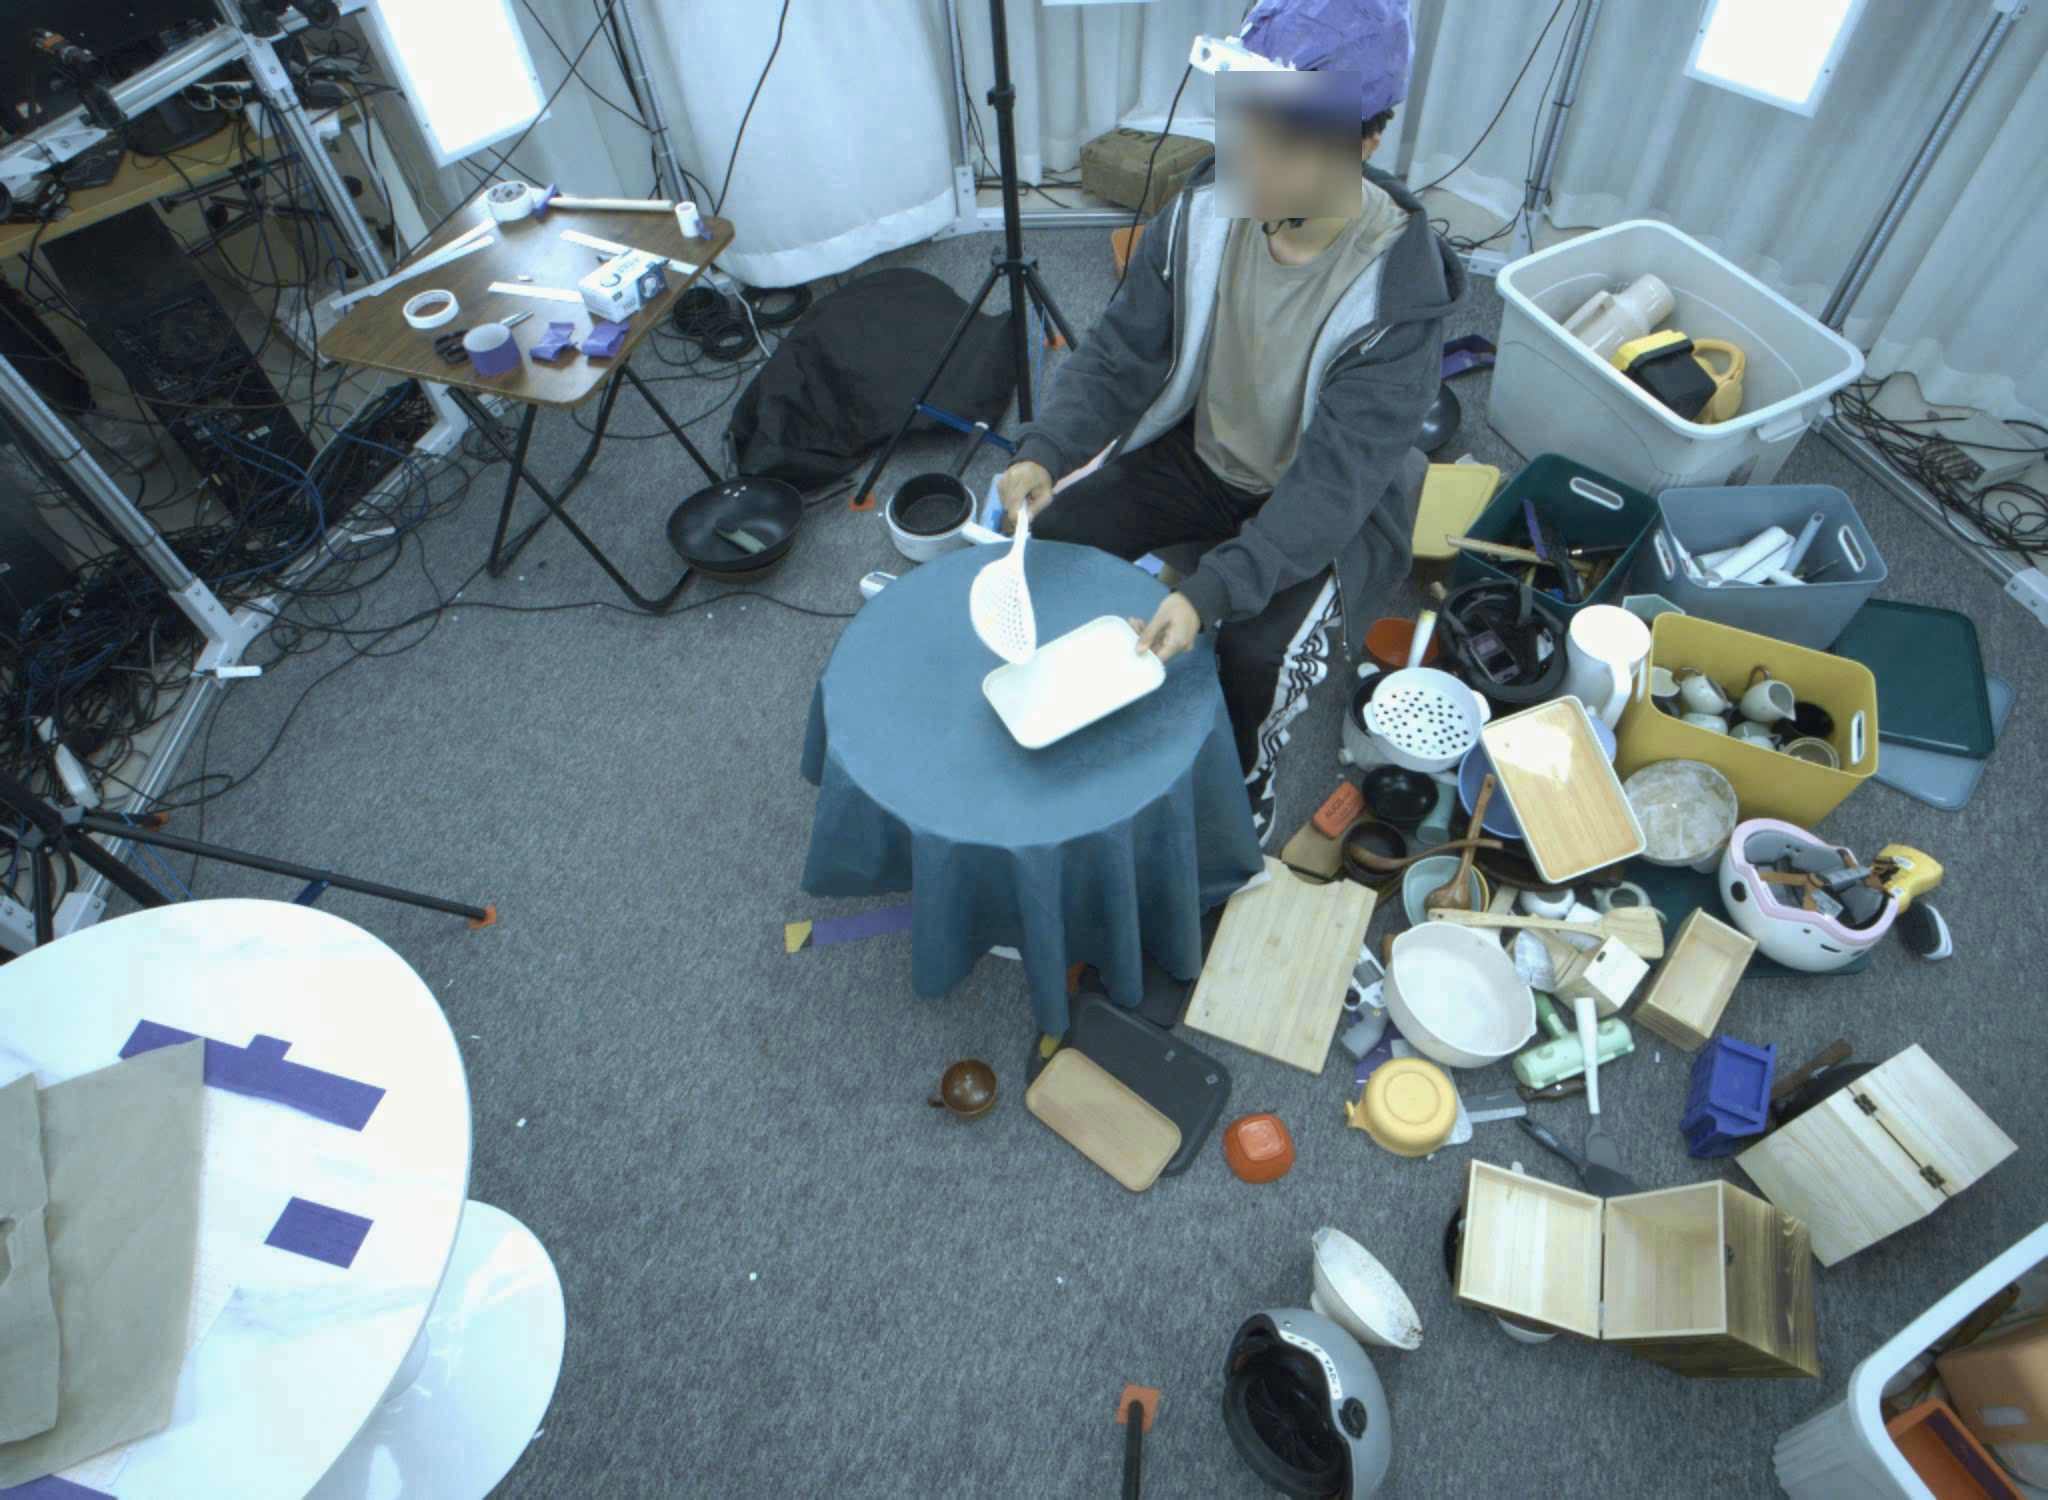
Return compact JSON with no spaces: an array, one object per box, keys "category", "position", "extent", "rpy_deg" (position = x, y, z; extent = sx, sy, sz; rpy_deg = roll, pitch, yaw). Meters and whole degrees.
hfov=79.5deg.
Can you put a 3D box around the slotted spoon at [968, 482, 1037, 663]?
[{"category":"slotted spoon","position":[-0.025,-0.272,1.792],"extent":[0.049,0.140,0.345],"rpy_deg":[-19,47,38]}]

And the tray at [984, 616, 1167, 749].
[{"category":"tray","position":[0.074,-0.098,1.783],"extent":[0.241,0.018,0.168],"rpy_deg":[-27,51,-10]}]
